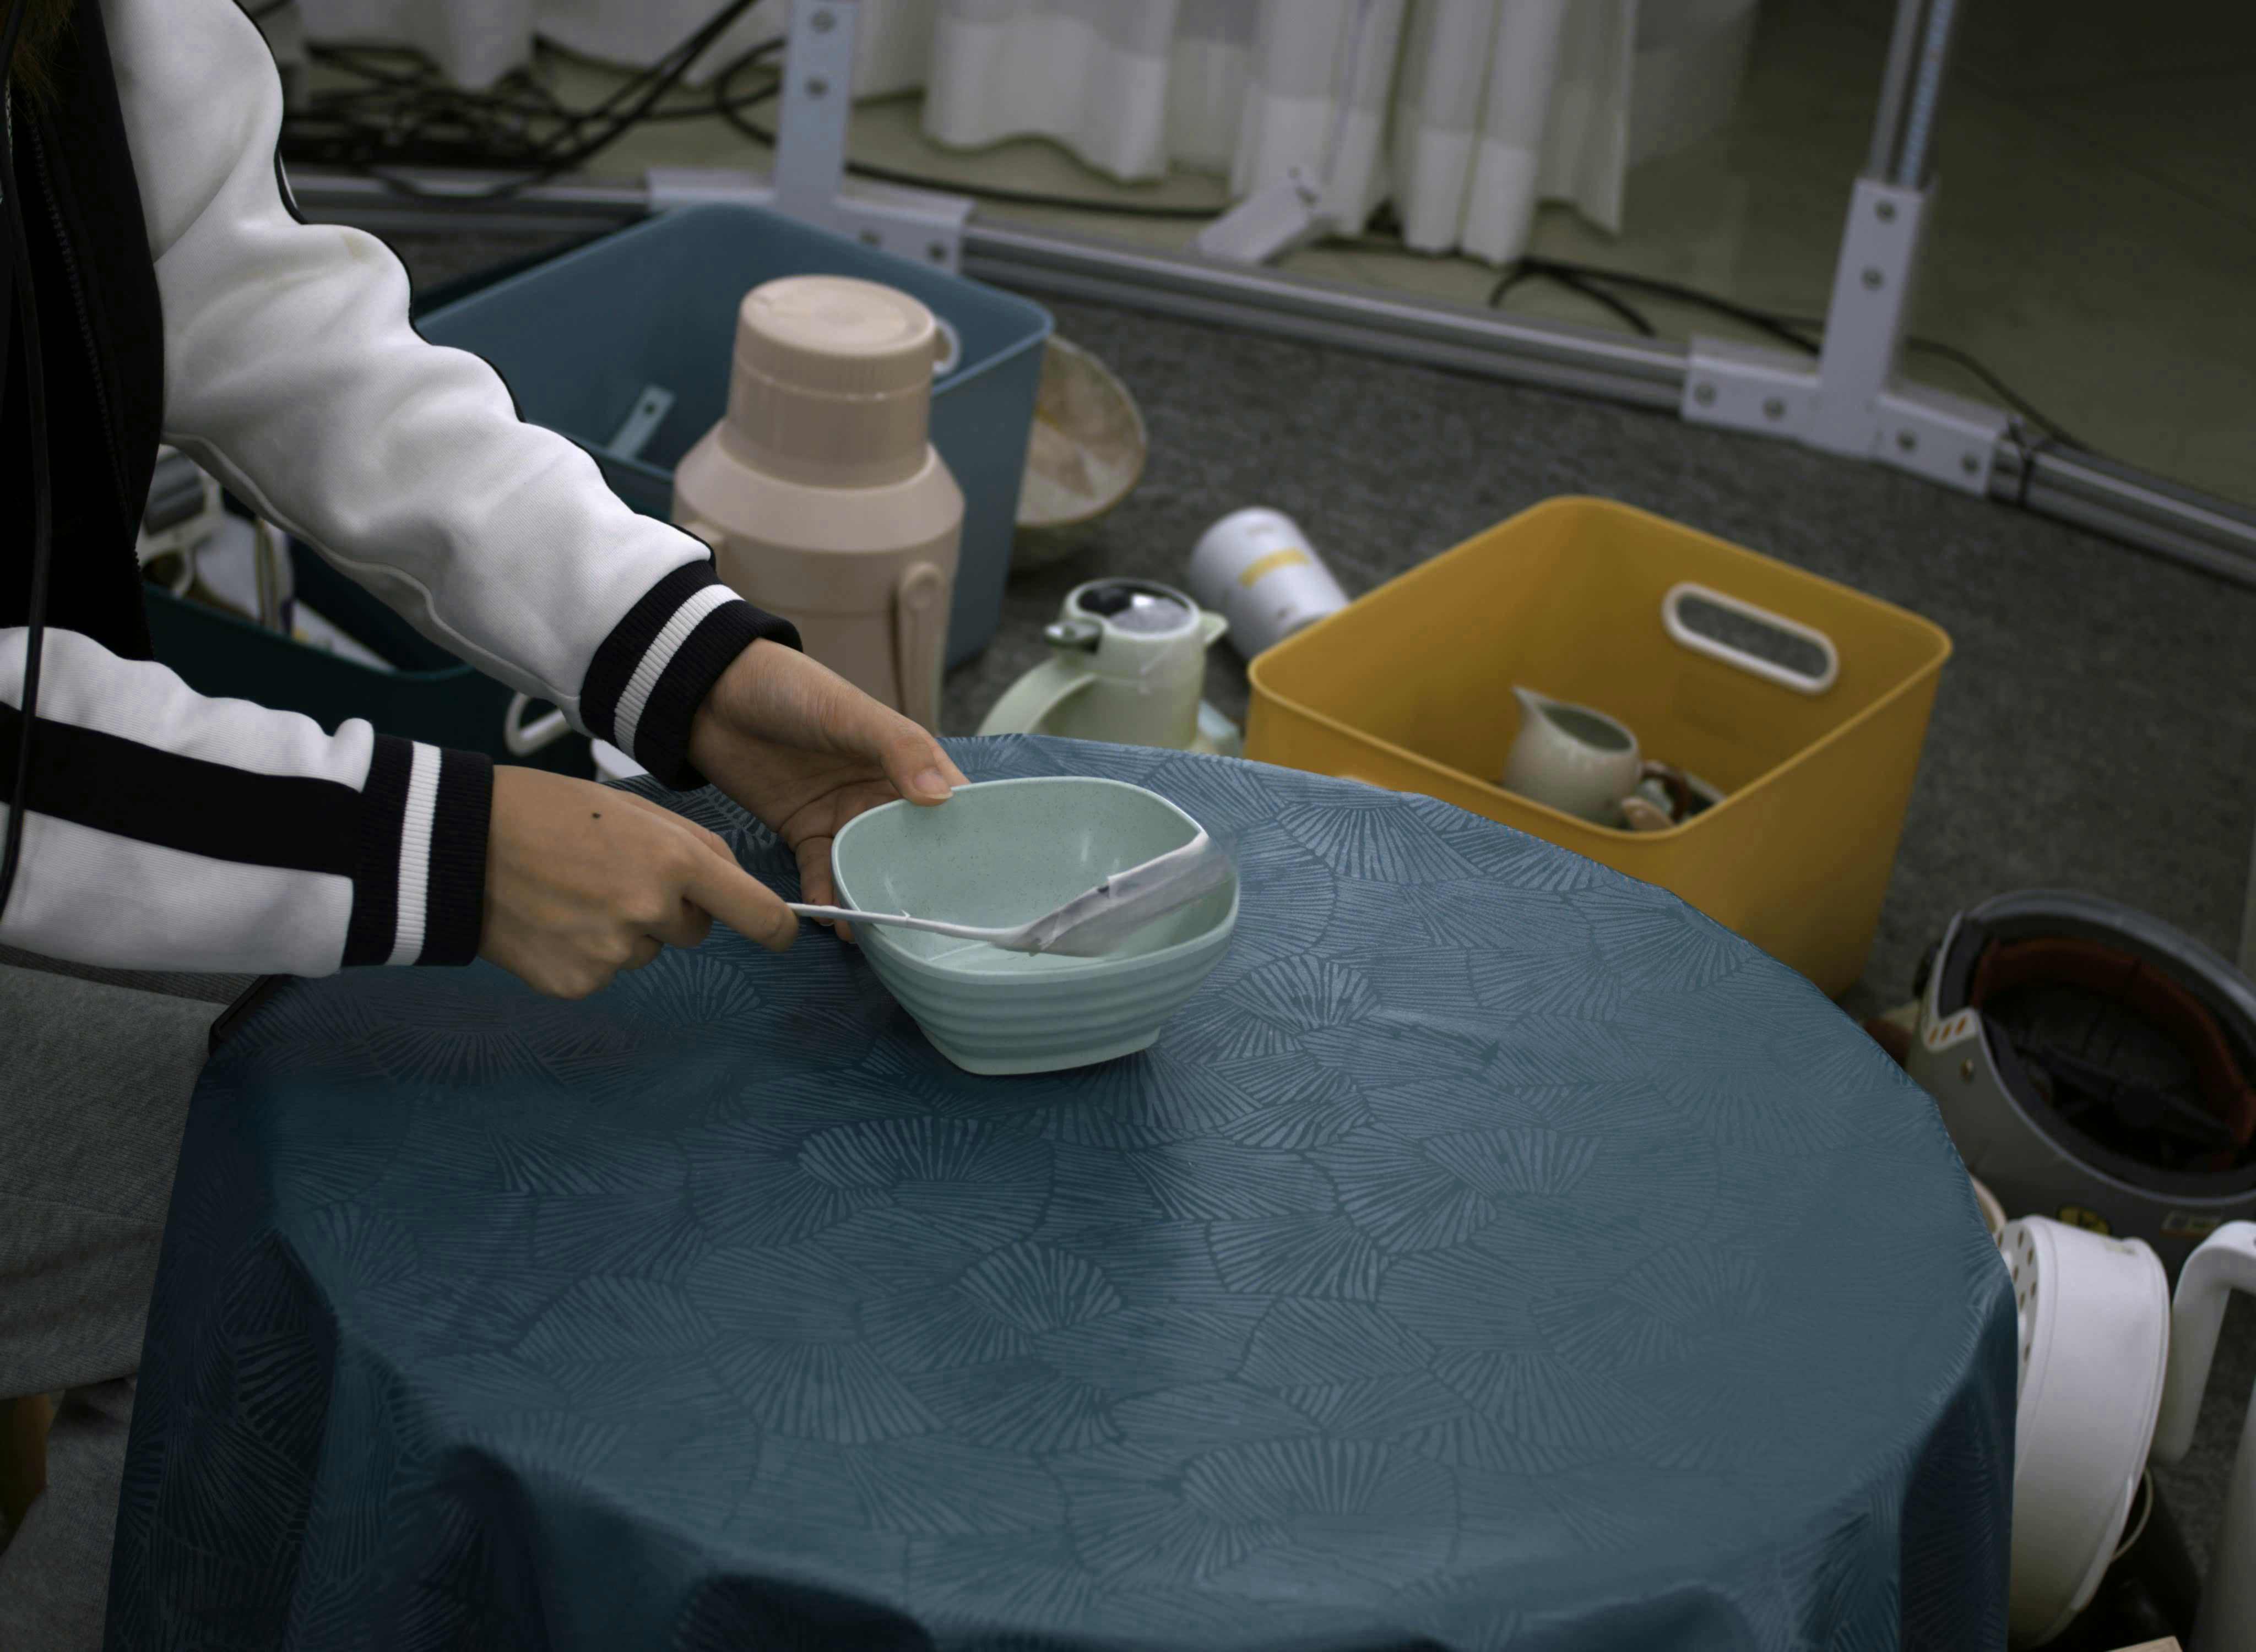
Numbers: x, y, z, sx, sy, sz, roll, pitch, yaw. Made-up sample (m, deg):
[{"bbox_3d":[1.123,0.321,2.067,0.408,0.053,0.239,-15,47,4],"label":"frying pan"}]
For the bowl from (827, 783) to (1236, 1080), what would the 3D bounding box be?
[{"bbox_3d":[-0.035,0.043,1.887,0.151,0.058,0.152,1,28,-1],"label":"bowl"}]

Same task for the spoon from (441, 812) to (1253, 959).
[{"bbox_3d":[-0.097,0.006,1.845,0.277,0.059,0.100,8,-11,2],"label":"spoon"}]
